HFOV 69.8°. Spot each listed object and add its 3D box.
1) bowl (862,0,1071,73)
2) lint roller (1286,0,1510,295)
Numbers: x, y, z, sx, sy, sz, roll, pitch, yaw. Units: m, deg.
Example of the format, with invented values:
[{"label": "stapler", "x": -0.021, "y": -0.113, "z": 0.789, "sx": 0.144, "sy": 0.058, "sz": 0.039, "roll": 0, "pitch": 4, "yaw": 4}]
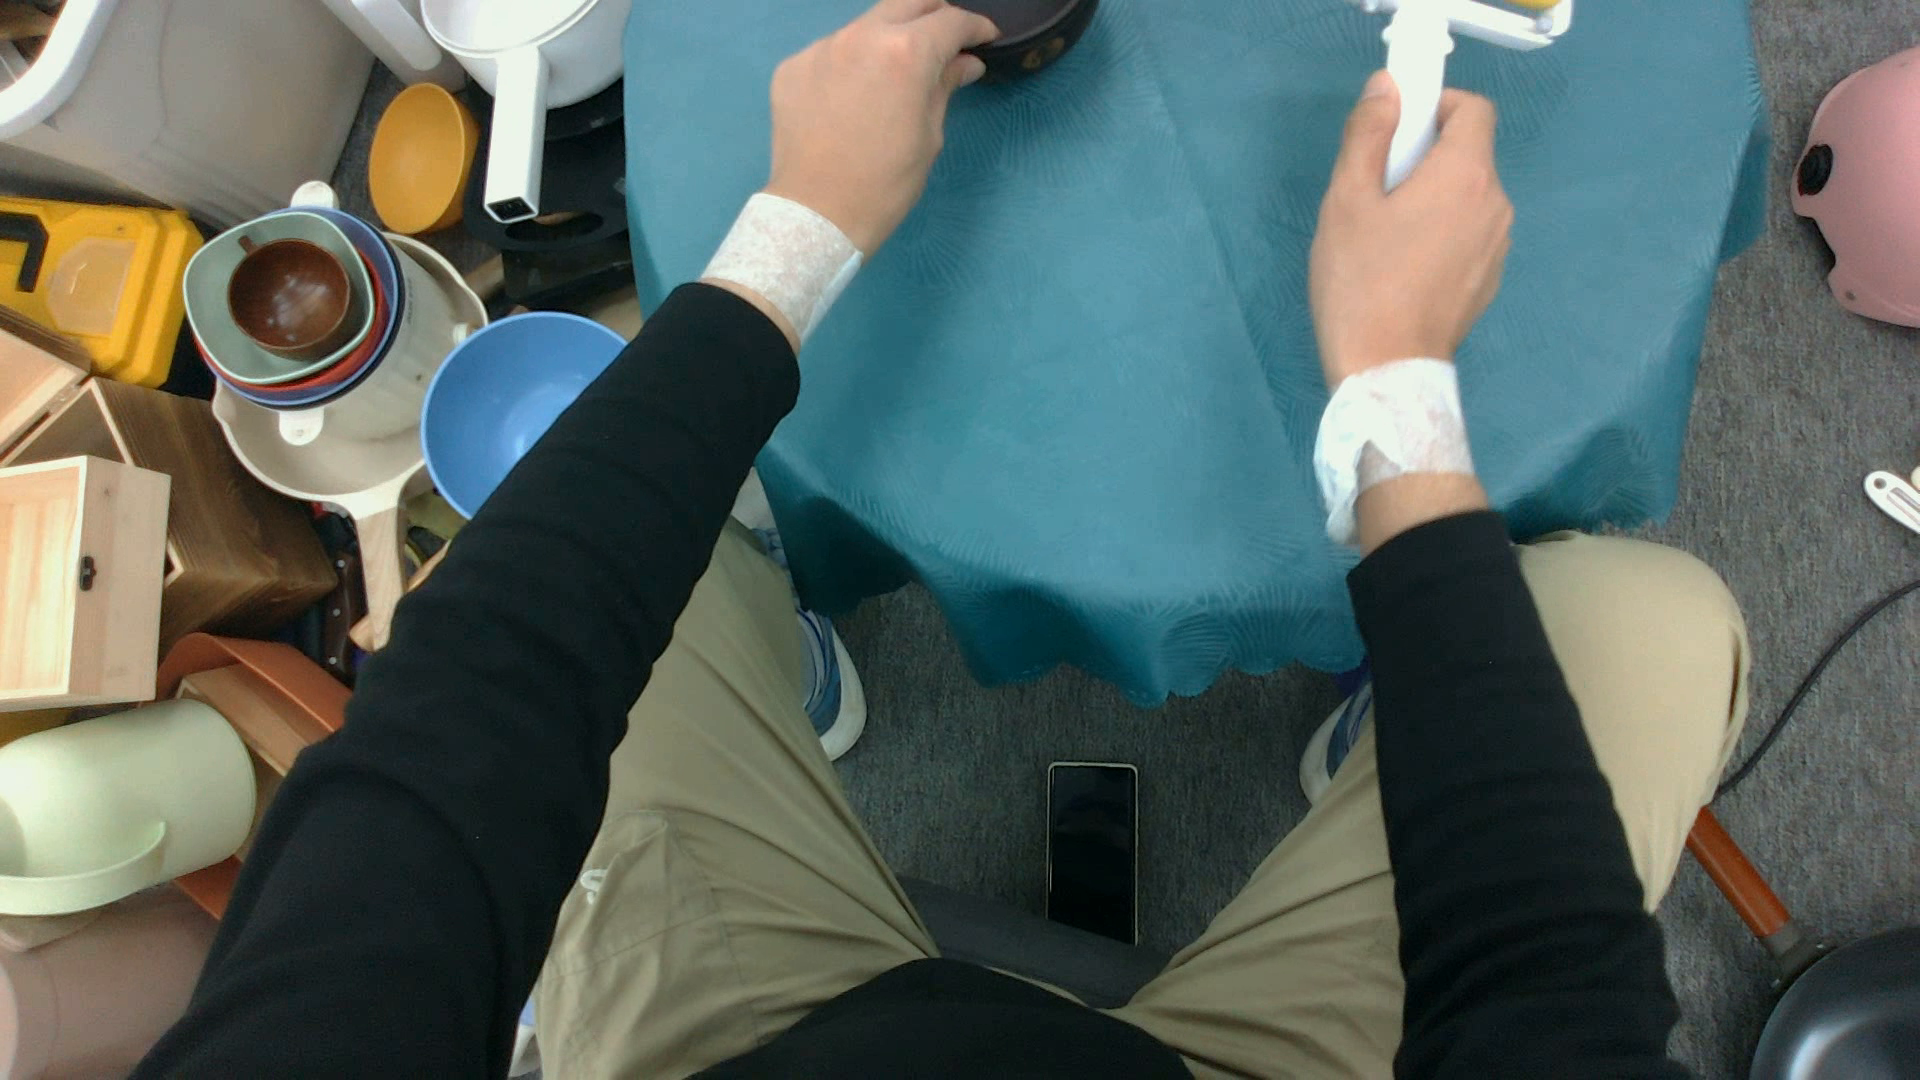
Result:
[{"label": "bowl", "x": 0.005, "y": -0.298, "z": 0.718, "sx": 0.118, "sy": 0.070, "sz": 0.118, "roll": -1, "pitch": 80, "yaw": 5}, {"label": "lint roller", "x": 0.195, "y": -0.209, "z": 0.616, "sx": 0.175, "sy": 0.051, "sz": 0.192, "roll": -1, "pitch": 80, "yaw": -33}]
